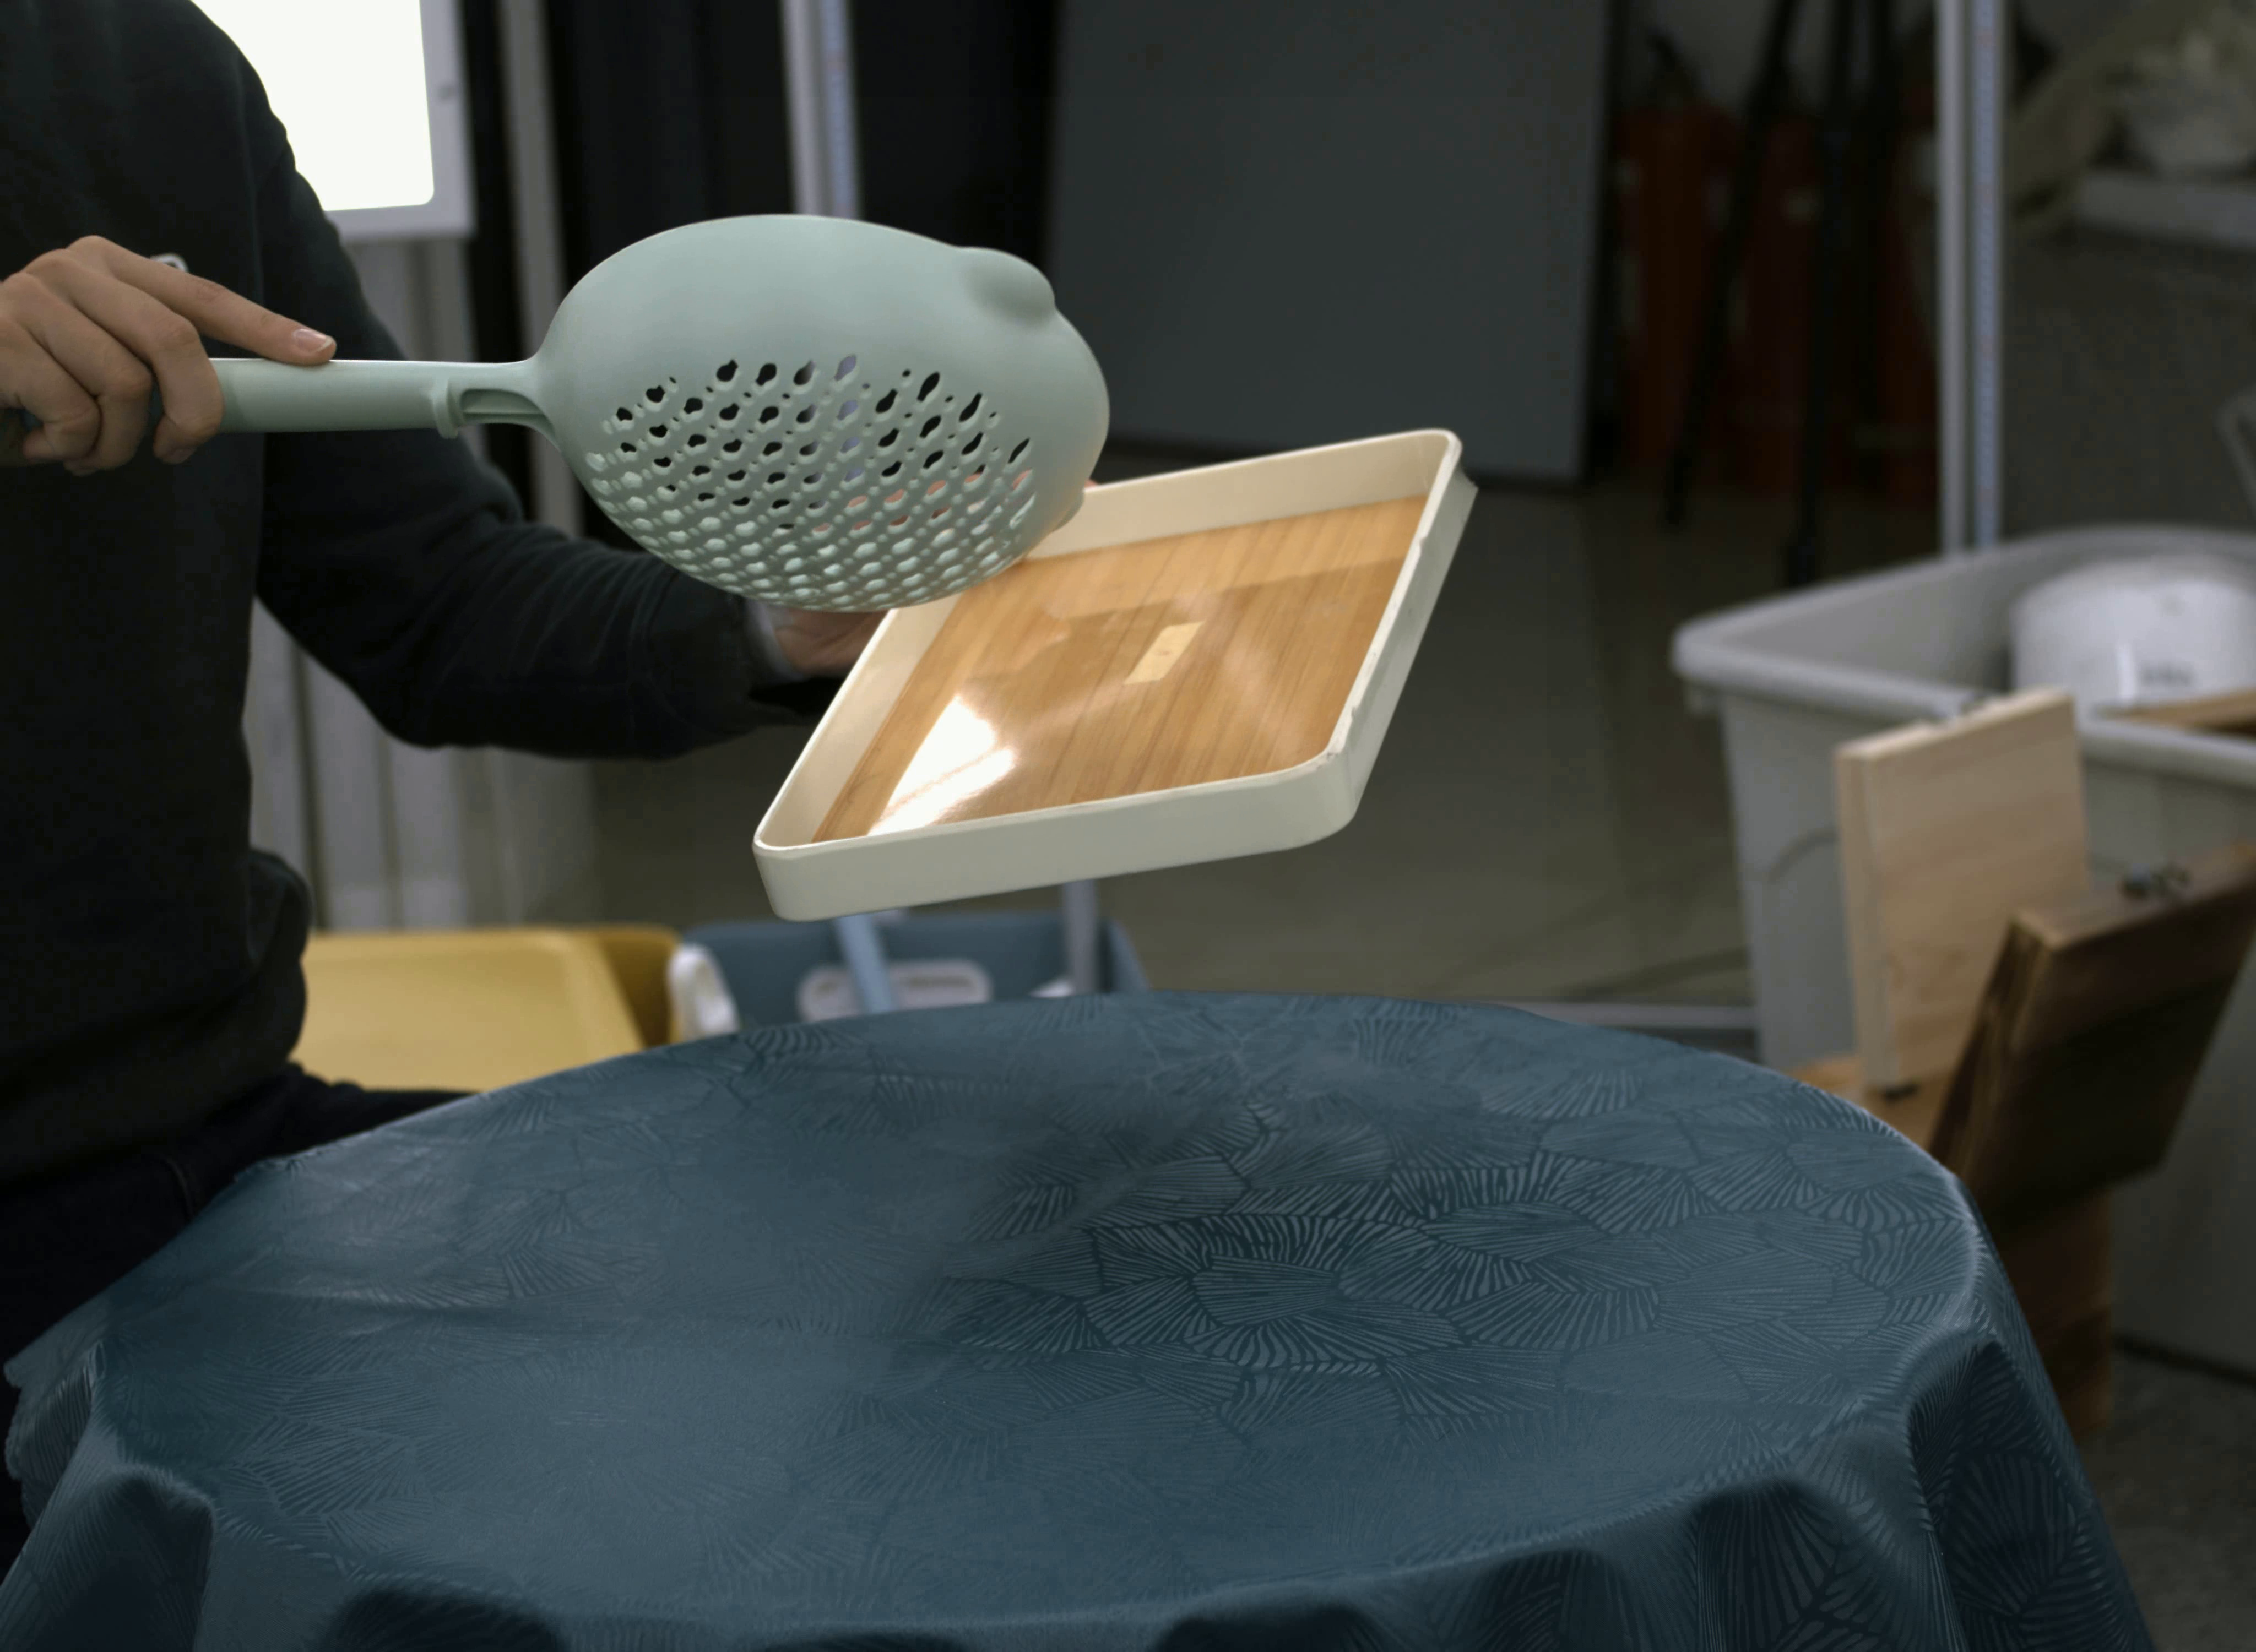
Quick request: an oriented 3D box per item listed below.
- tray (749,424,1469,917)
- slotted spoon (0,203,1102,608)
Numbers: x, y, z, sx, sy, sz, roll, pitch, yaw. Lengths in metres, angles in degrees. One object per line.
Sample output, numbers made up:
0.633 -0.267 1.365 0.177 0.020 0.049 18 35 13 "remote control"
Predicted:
0.001 -0.054 1.749 0.191 0.027 0.299 -10 21 17 "tray"
-0.188 -0.126 1.628 0.356 0.169 0.076 8 58 11 "slotted spoon"
